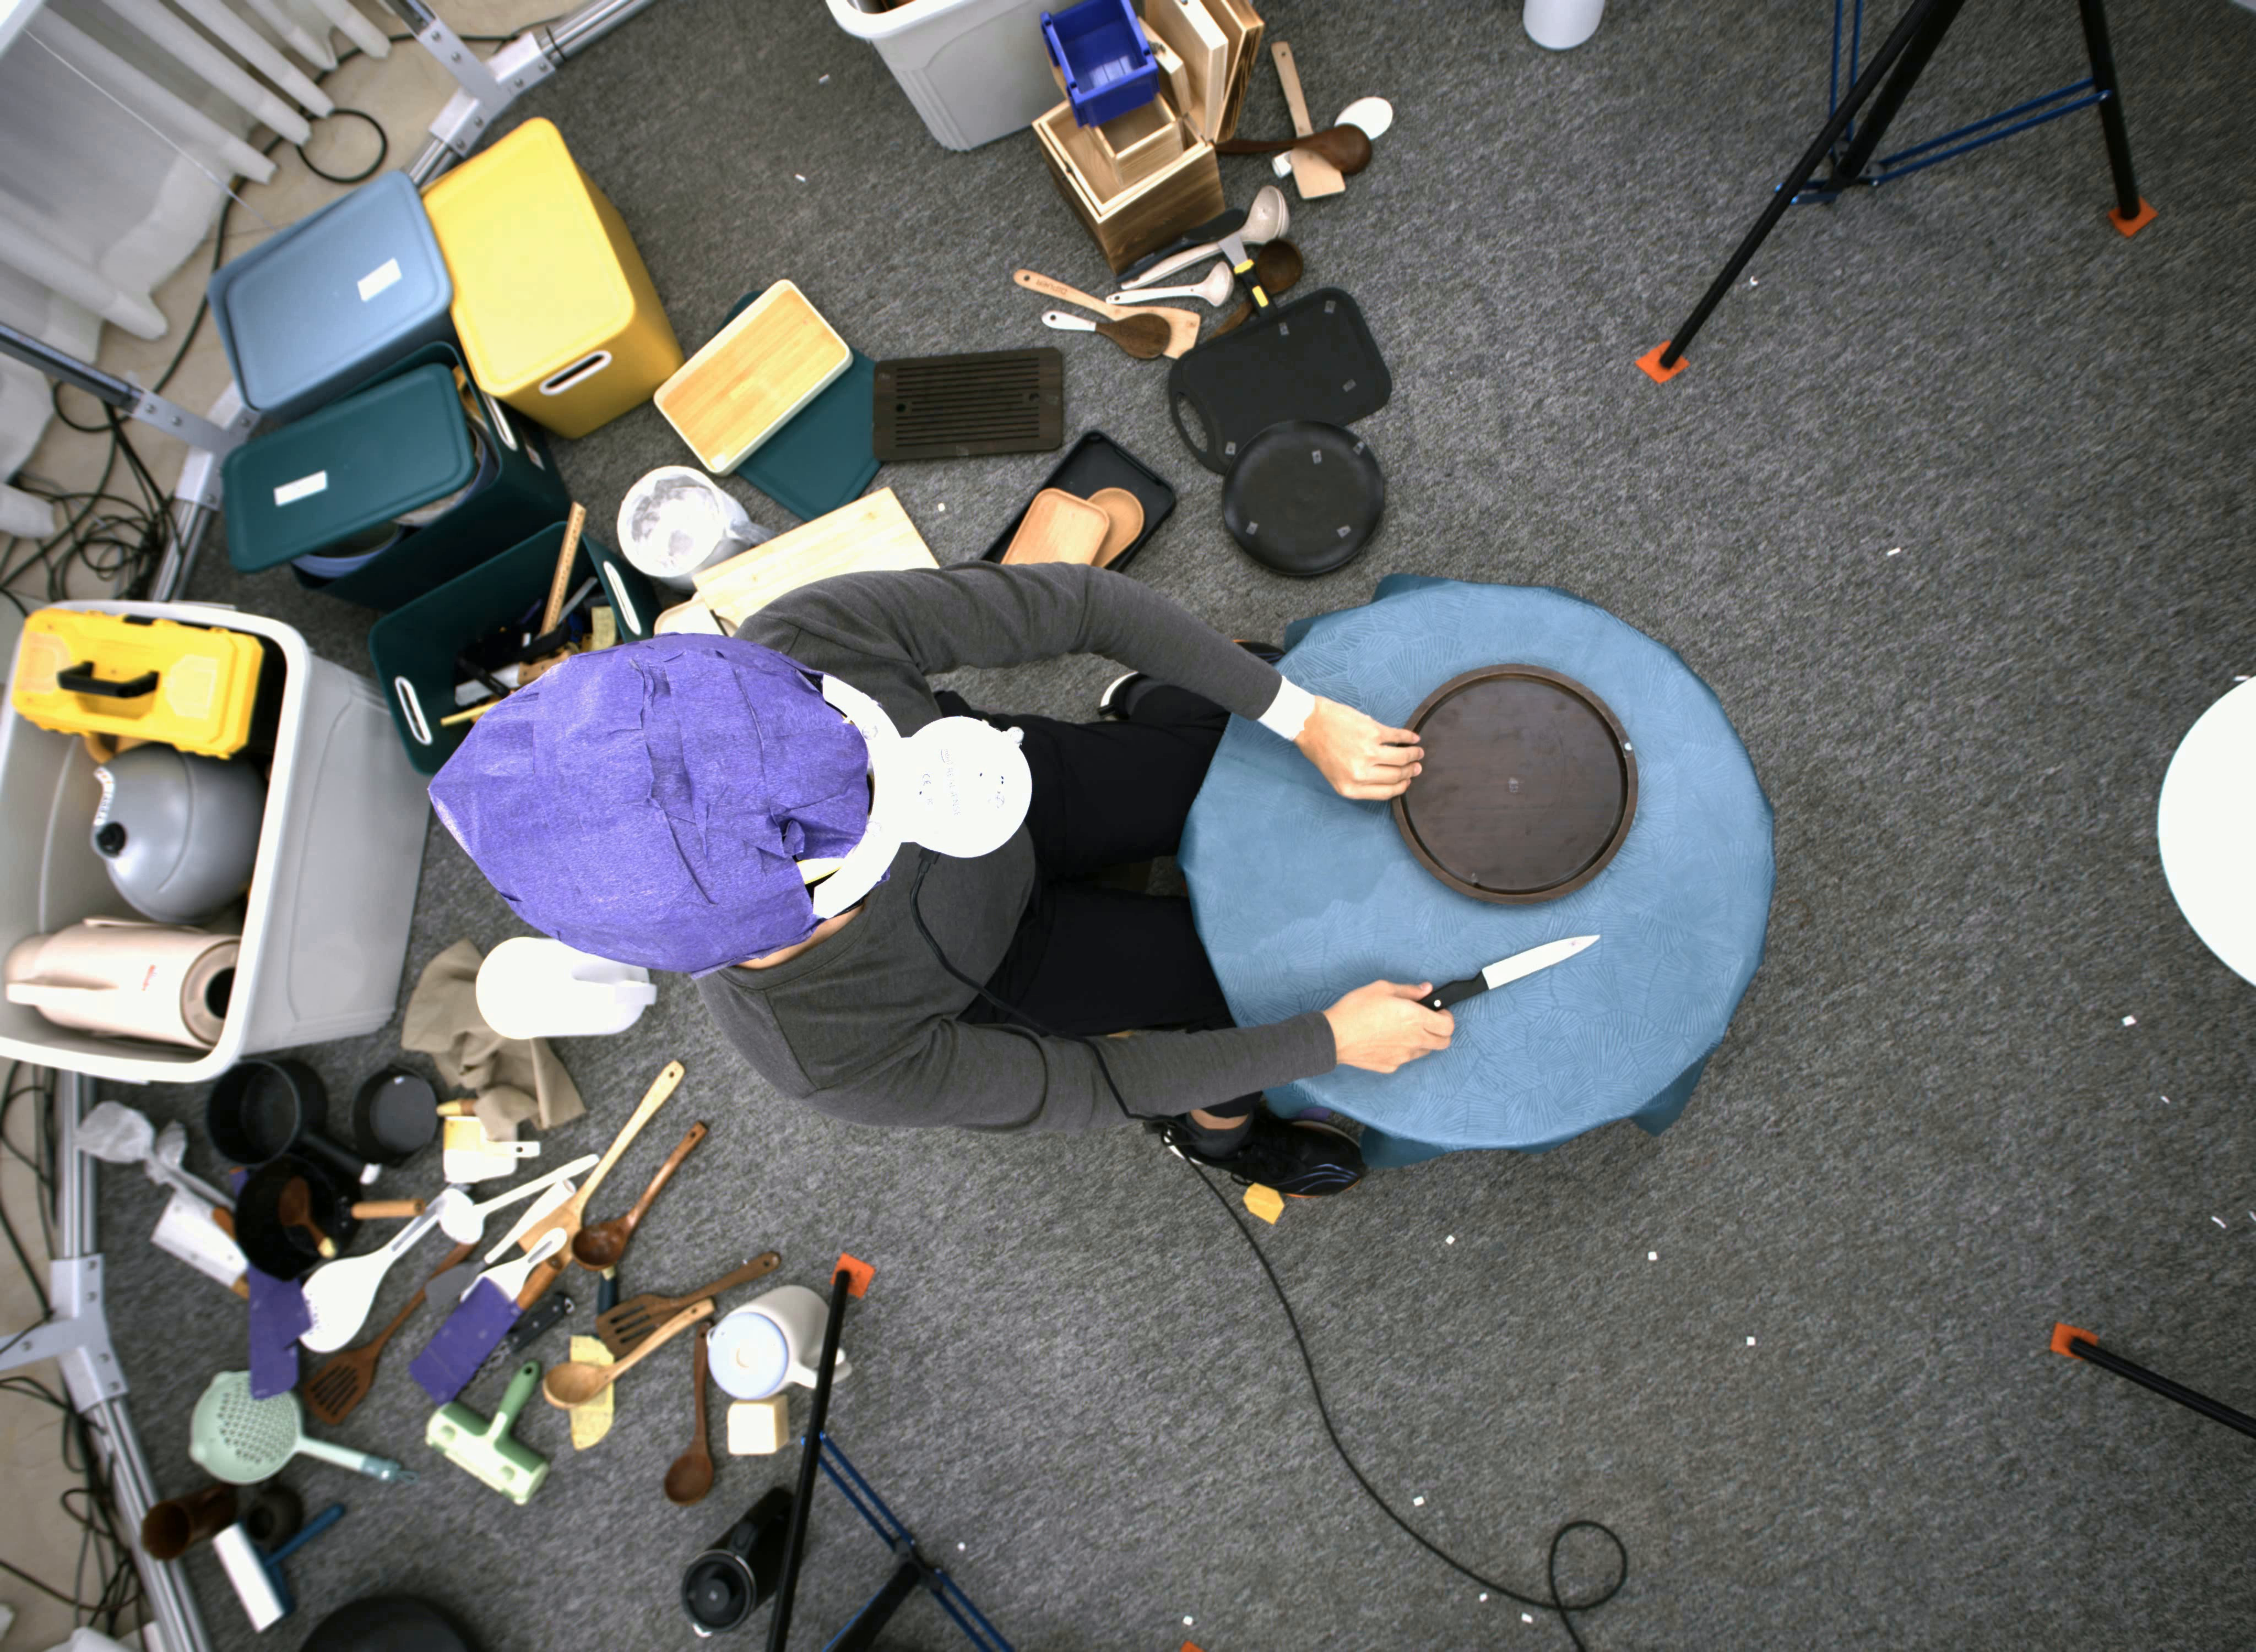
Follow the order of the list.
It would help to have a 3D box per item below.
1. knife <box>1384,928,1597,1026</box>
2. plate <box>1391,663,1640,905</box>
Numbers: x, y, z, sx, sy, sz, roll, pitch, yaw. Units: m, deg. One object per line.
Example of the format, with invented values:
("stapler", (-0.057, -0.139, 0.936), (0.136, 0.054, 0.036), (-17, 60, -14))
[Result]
("knife", (0.377, 0.154, 1.425), (0.239, 0.016, 0.024), (-24, 88, 4))
("plate", (0.401, -0.046, 1.429), (0.256, 0.029, 0.253), (-1, 86, 9))
